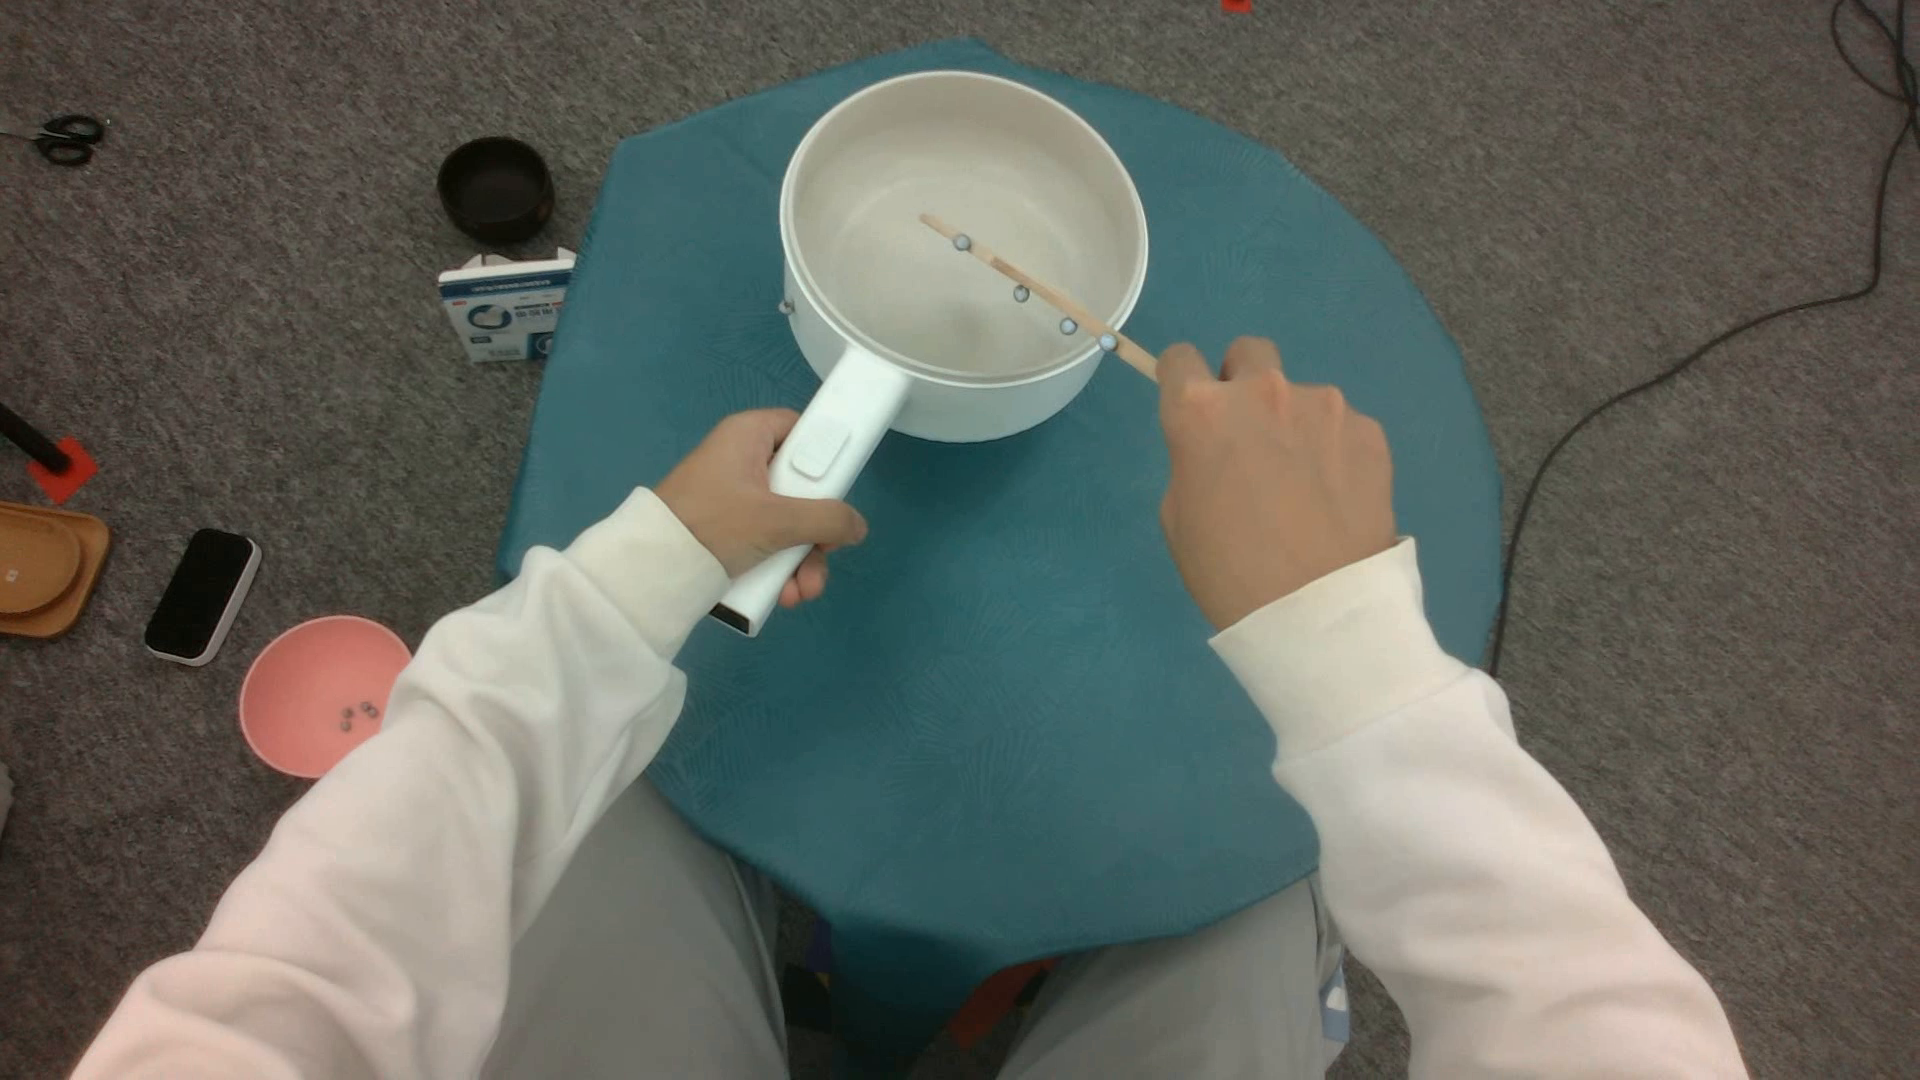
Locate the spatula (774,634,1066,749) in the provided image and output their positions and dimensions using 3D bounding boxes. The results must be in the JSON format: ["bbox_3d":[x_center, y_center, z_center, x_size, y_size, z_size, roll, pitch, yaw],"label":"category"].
[{"bbox_3d":[-0.042,0.141,1.364,0.293,0.010,0.072,14,67,2],"label":"spatula"}]

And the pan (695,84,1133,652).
[{"bbox_3d":[-0.041,-0.090,0.775,0.201,0.101,0.356,27,68,0],"label":"pan"}]
